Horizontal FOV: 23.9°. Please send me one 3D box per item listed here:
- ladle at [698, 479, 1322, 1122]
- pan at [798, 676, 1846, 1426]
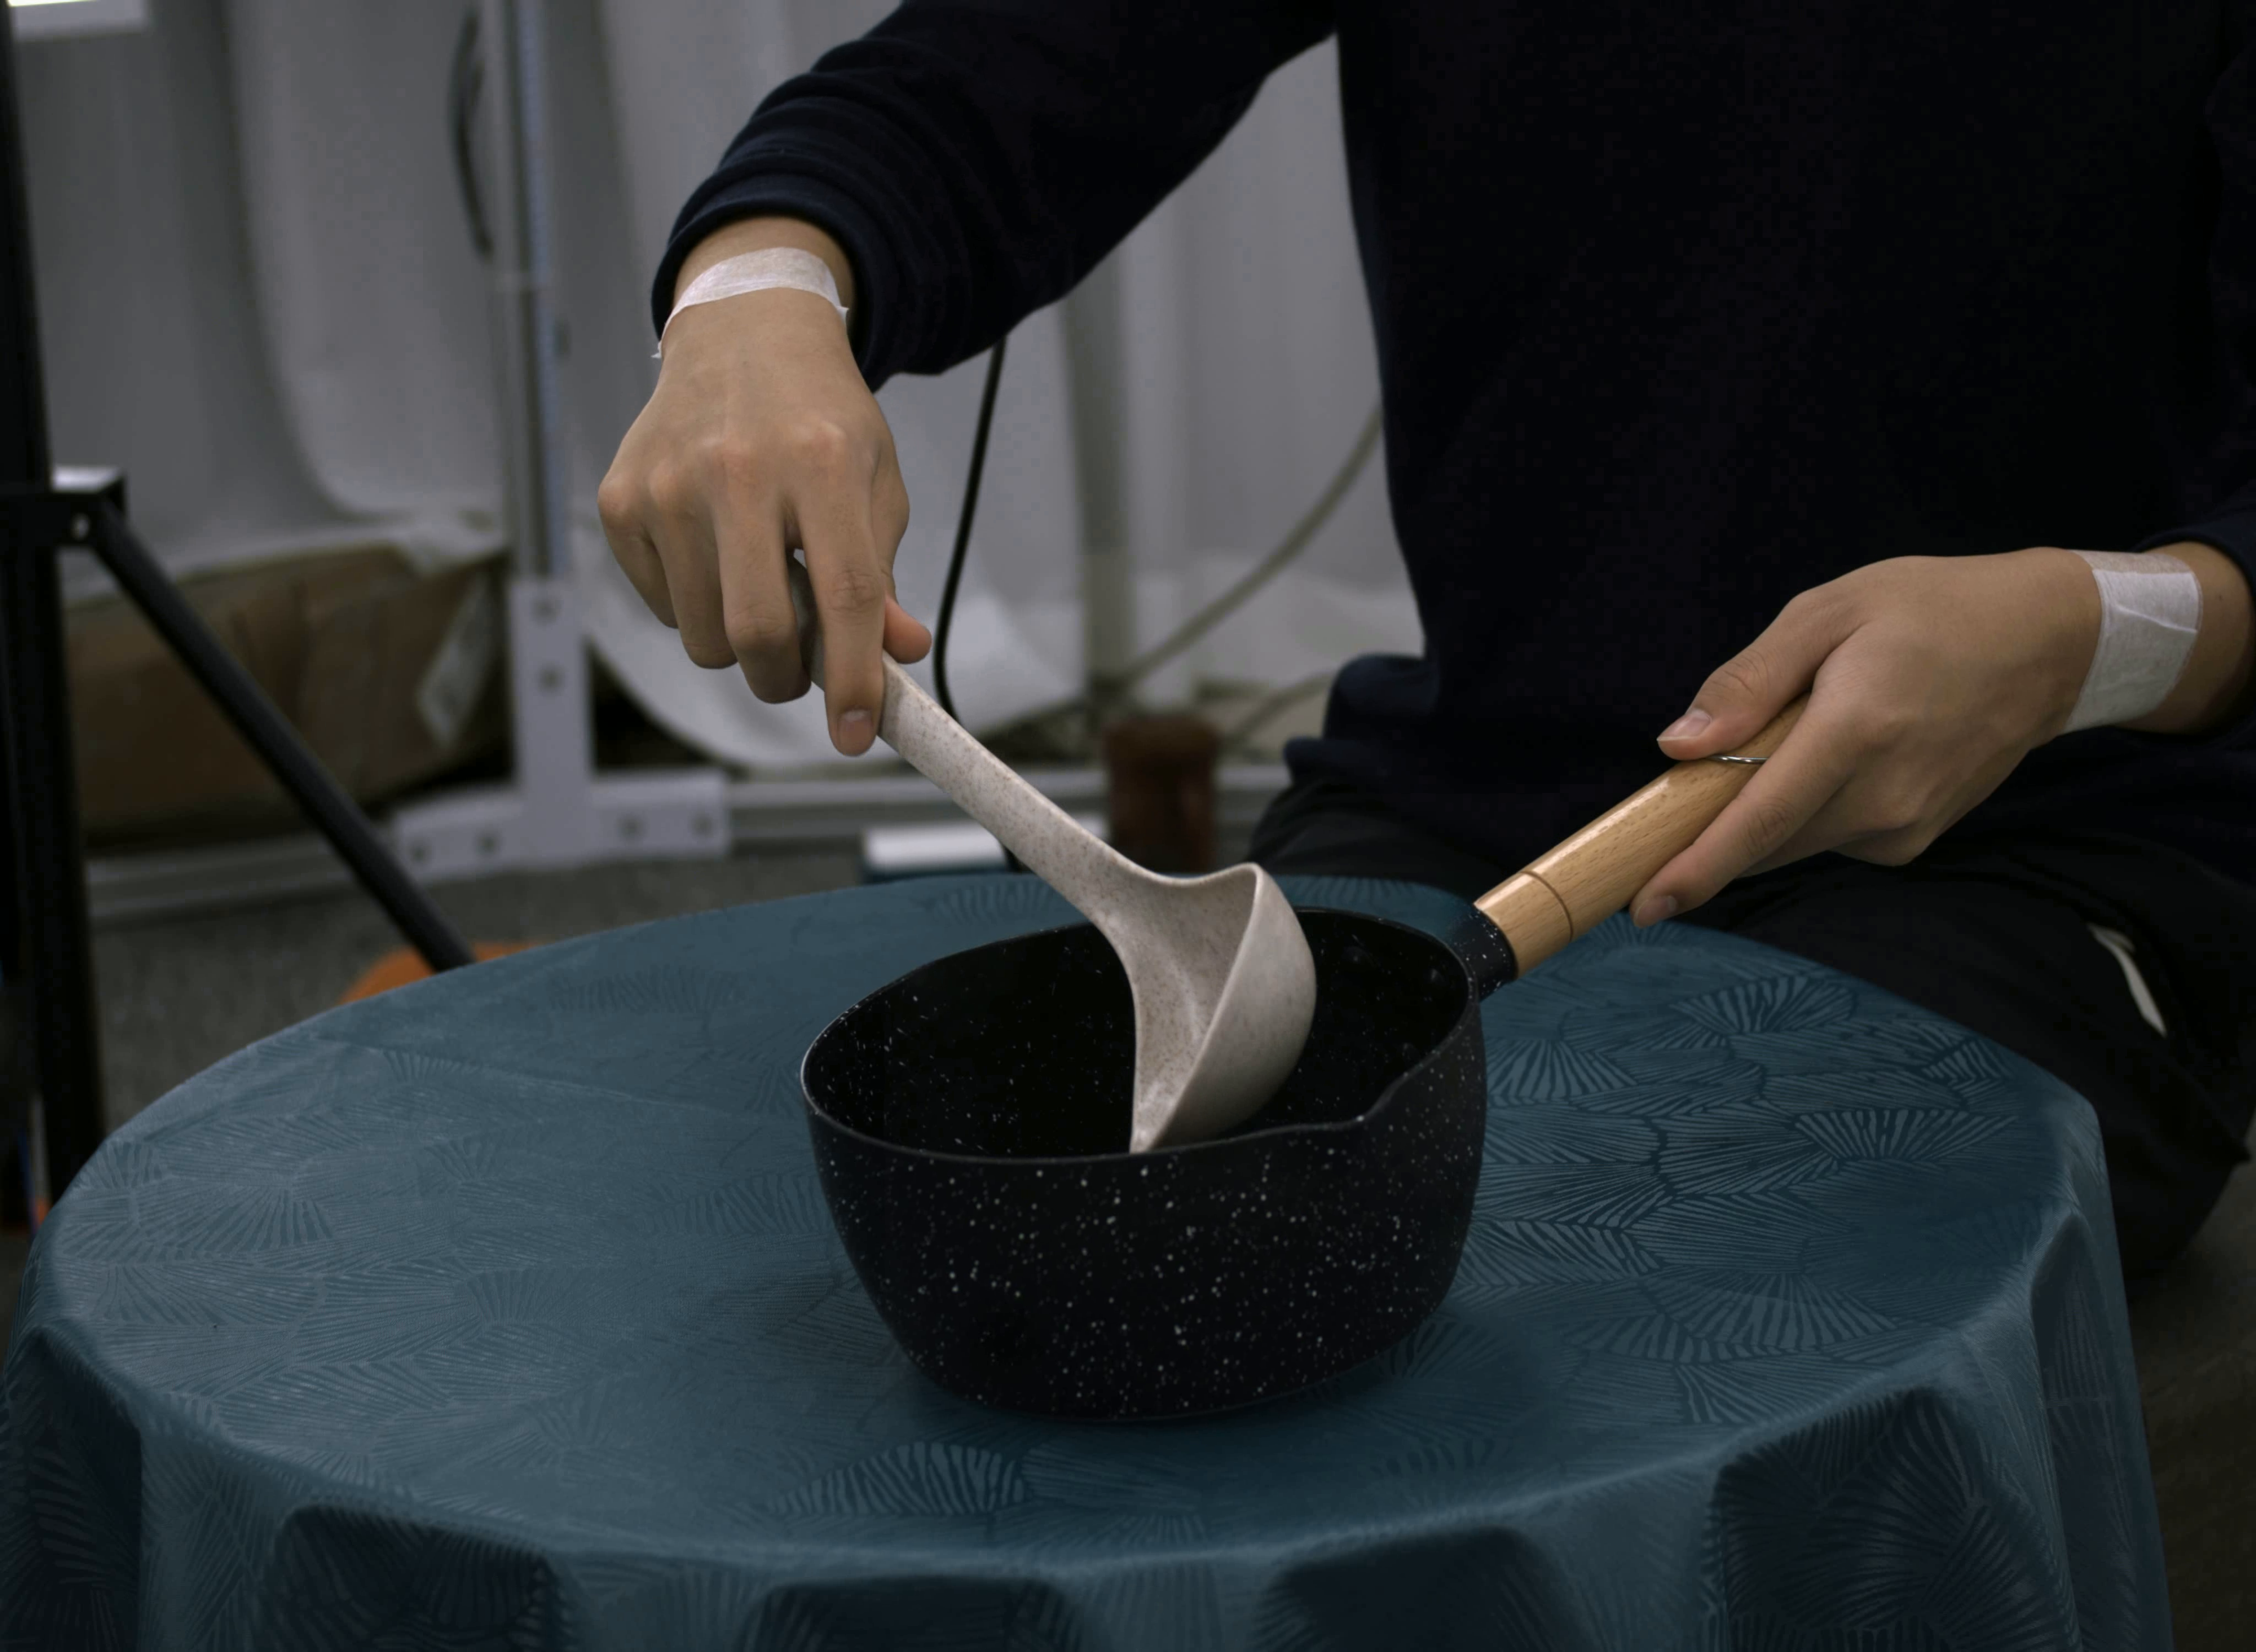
[{"bbox_3d":[-0.052,-0.012,1.470,0.068,0.089,0.280,-16,47,-45],"label":"ladle"},{"bbox_3d":[0.070,0.058,1.468,0.336,0.108,0.212,-21,21,-30],"label":"pan"}]
